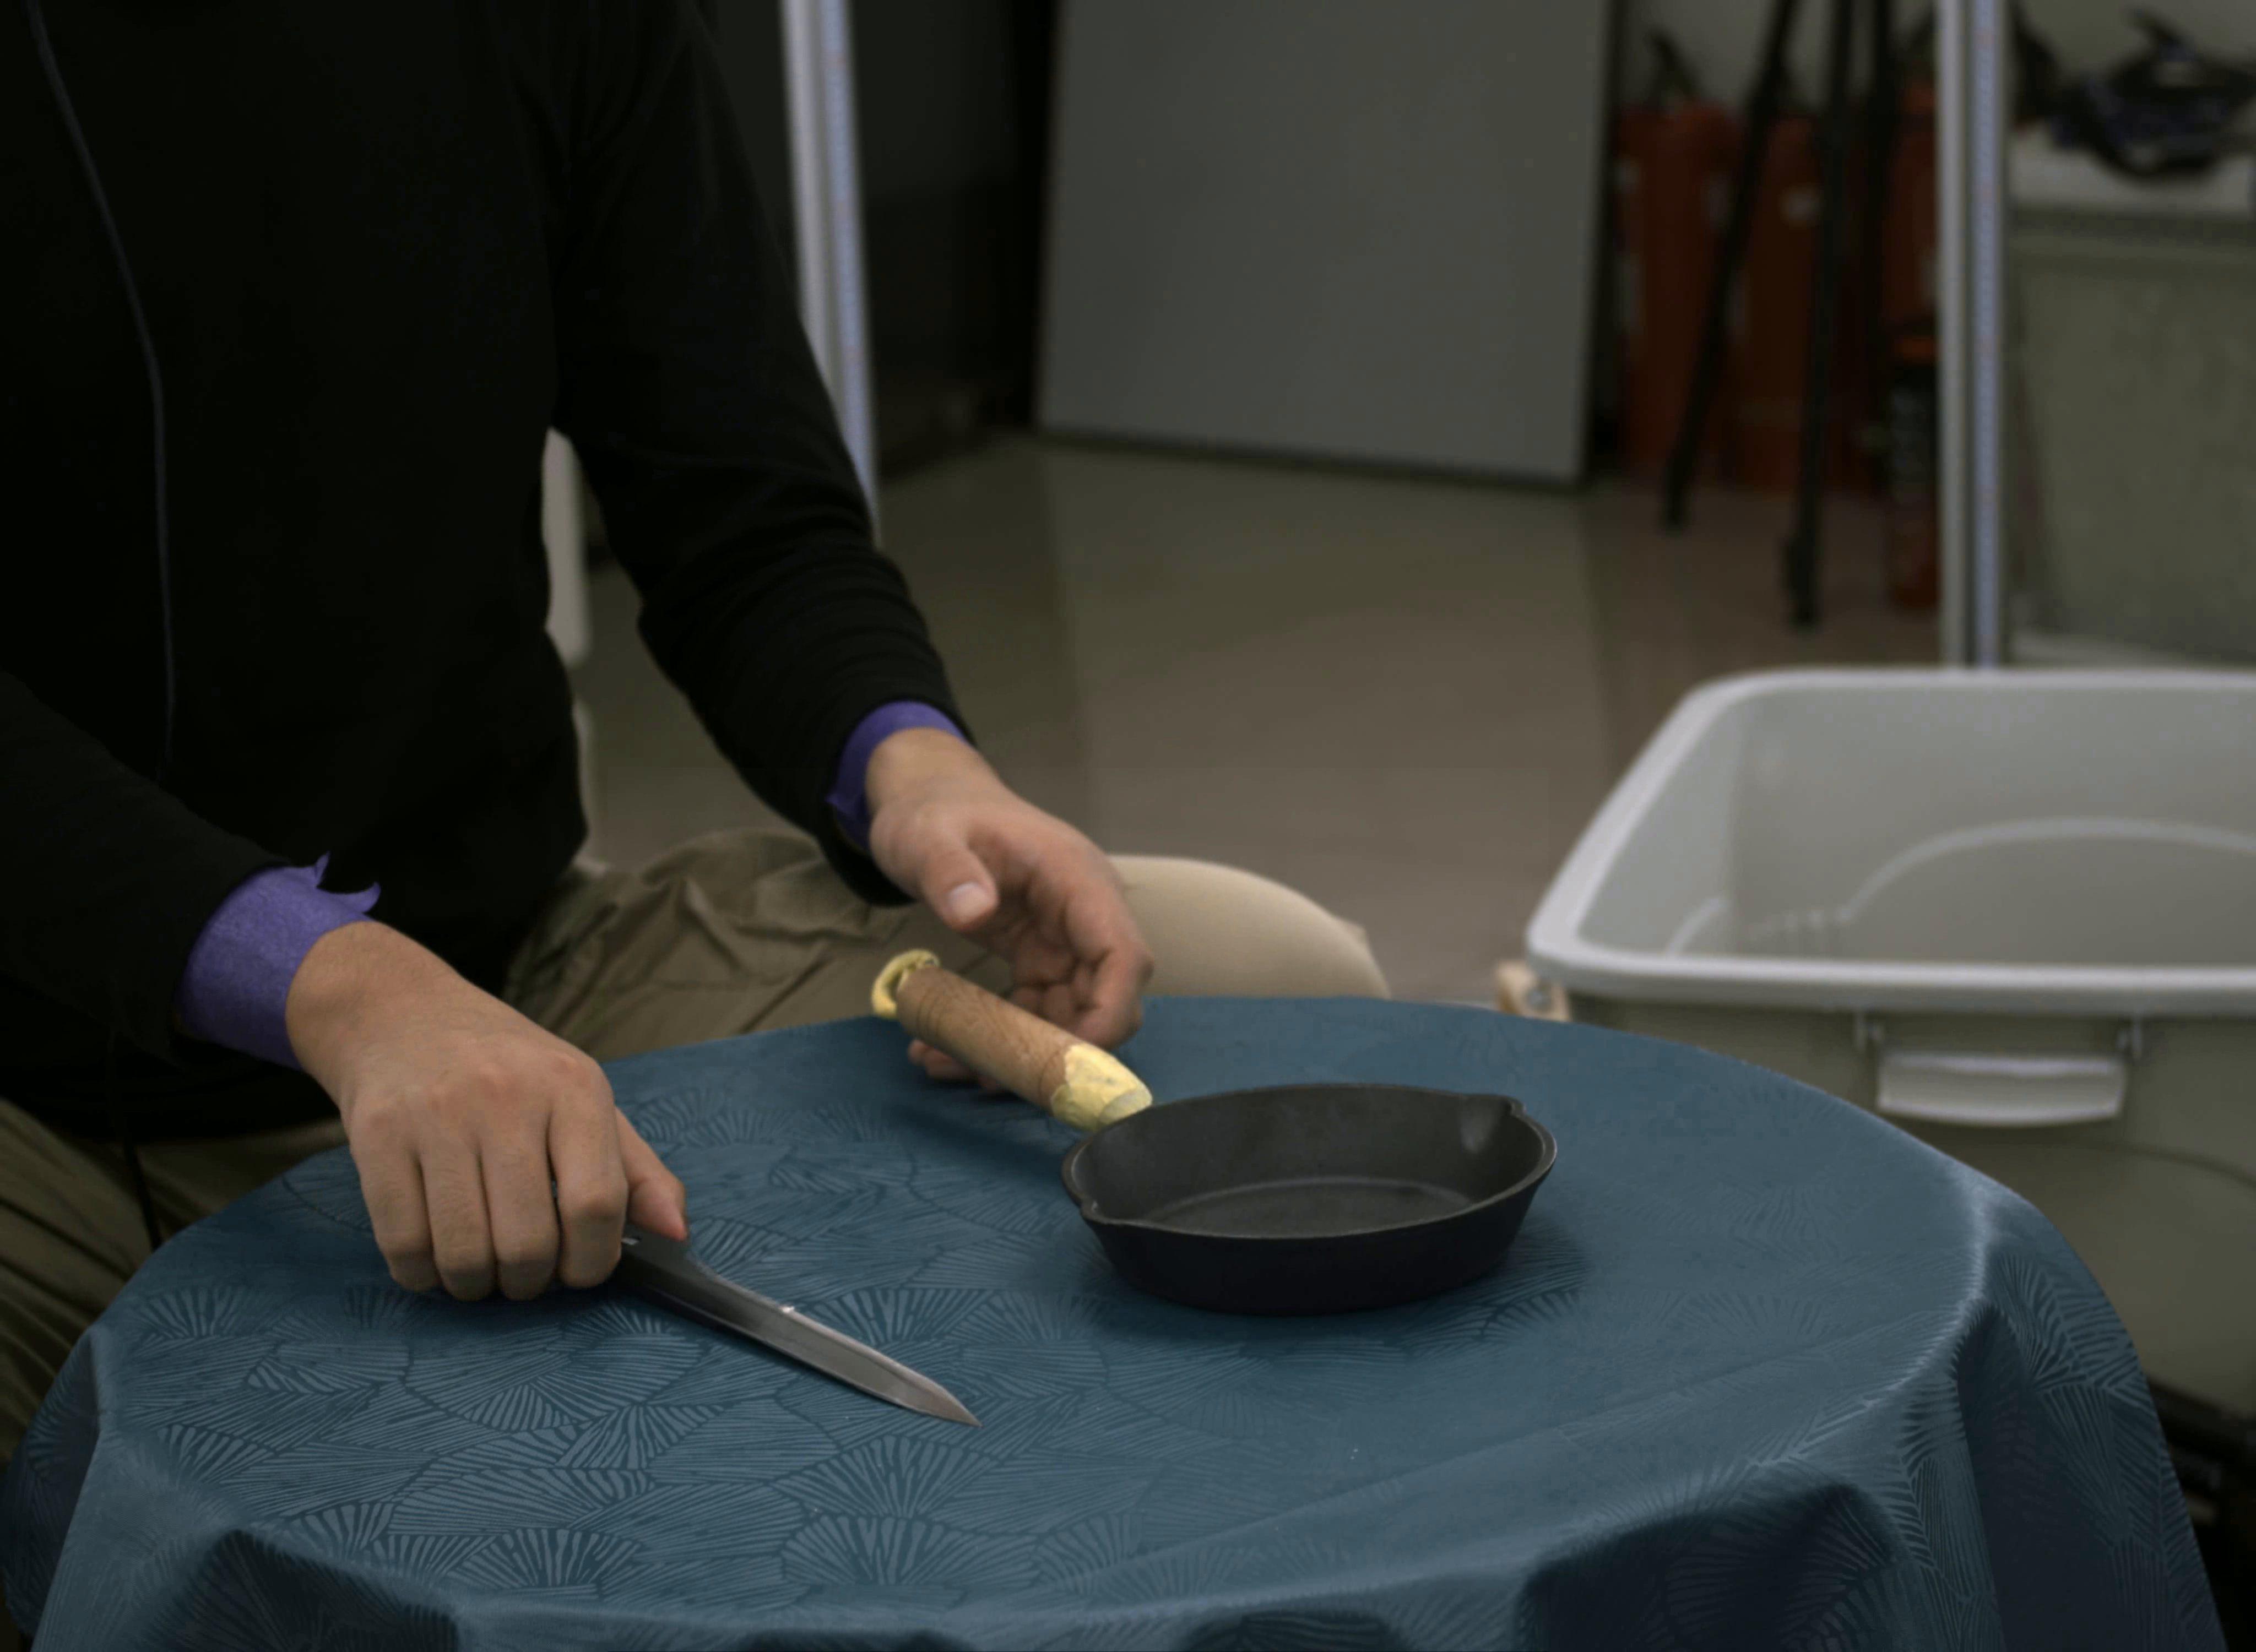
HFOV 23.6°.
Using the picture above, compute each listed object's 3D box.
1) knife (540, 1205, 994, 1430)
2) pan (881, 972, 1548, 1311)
[{"bbox_3d":[-0.115,0.152,1.661,0.024,0.016,0.241,-13,19,-36],"label":"knife"},{"bbox_3d":[0.010,0.099,1.766,0.165,0.050,0.327,-12,15,-31],"label":"pan"}]
